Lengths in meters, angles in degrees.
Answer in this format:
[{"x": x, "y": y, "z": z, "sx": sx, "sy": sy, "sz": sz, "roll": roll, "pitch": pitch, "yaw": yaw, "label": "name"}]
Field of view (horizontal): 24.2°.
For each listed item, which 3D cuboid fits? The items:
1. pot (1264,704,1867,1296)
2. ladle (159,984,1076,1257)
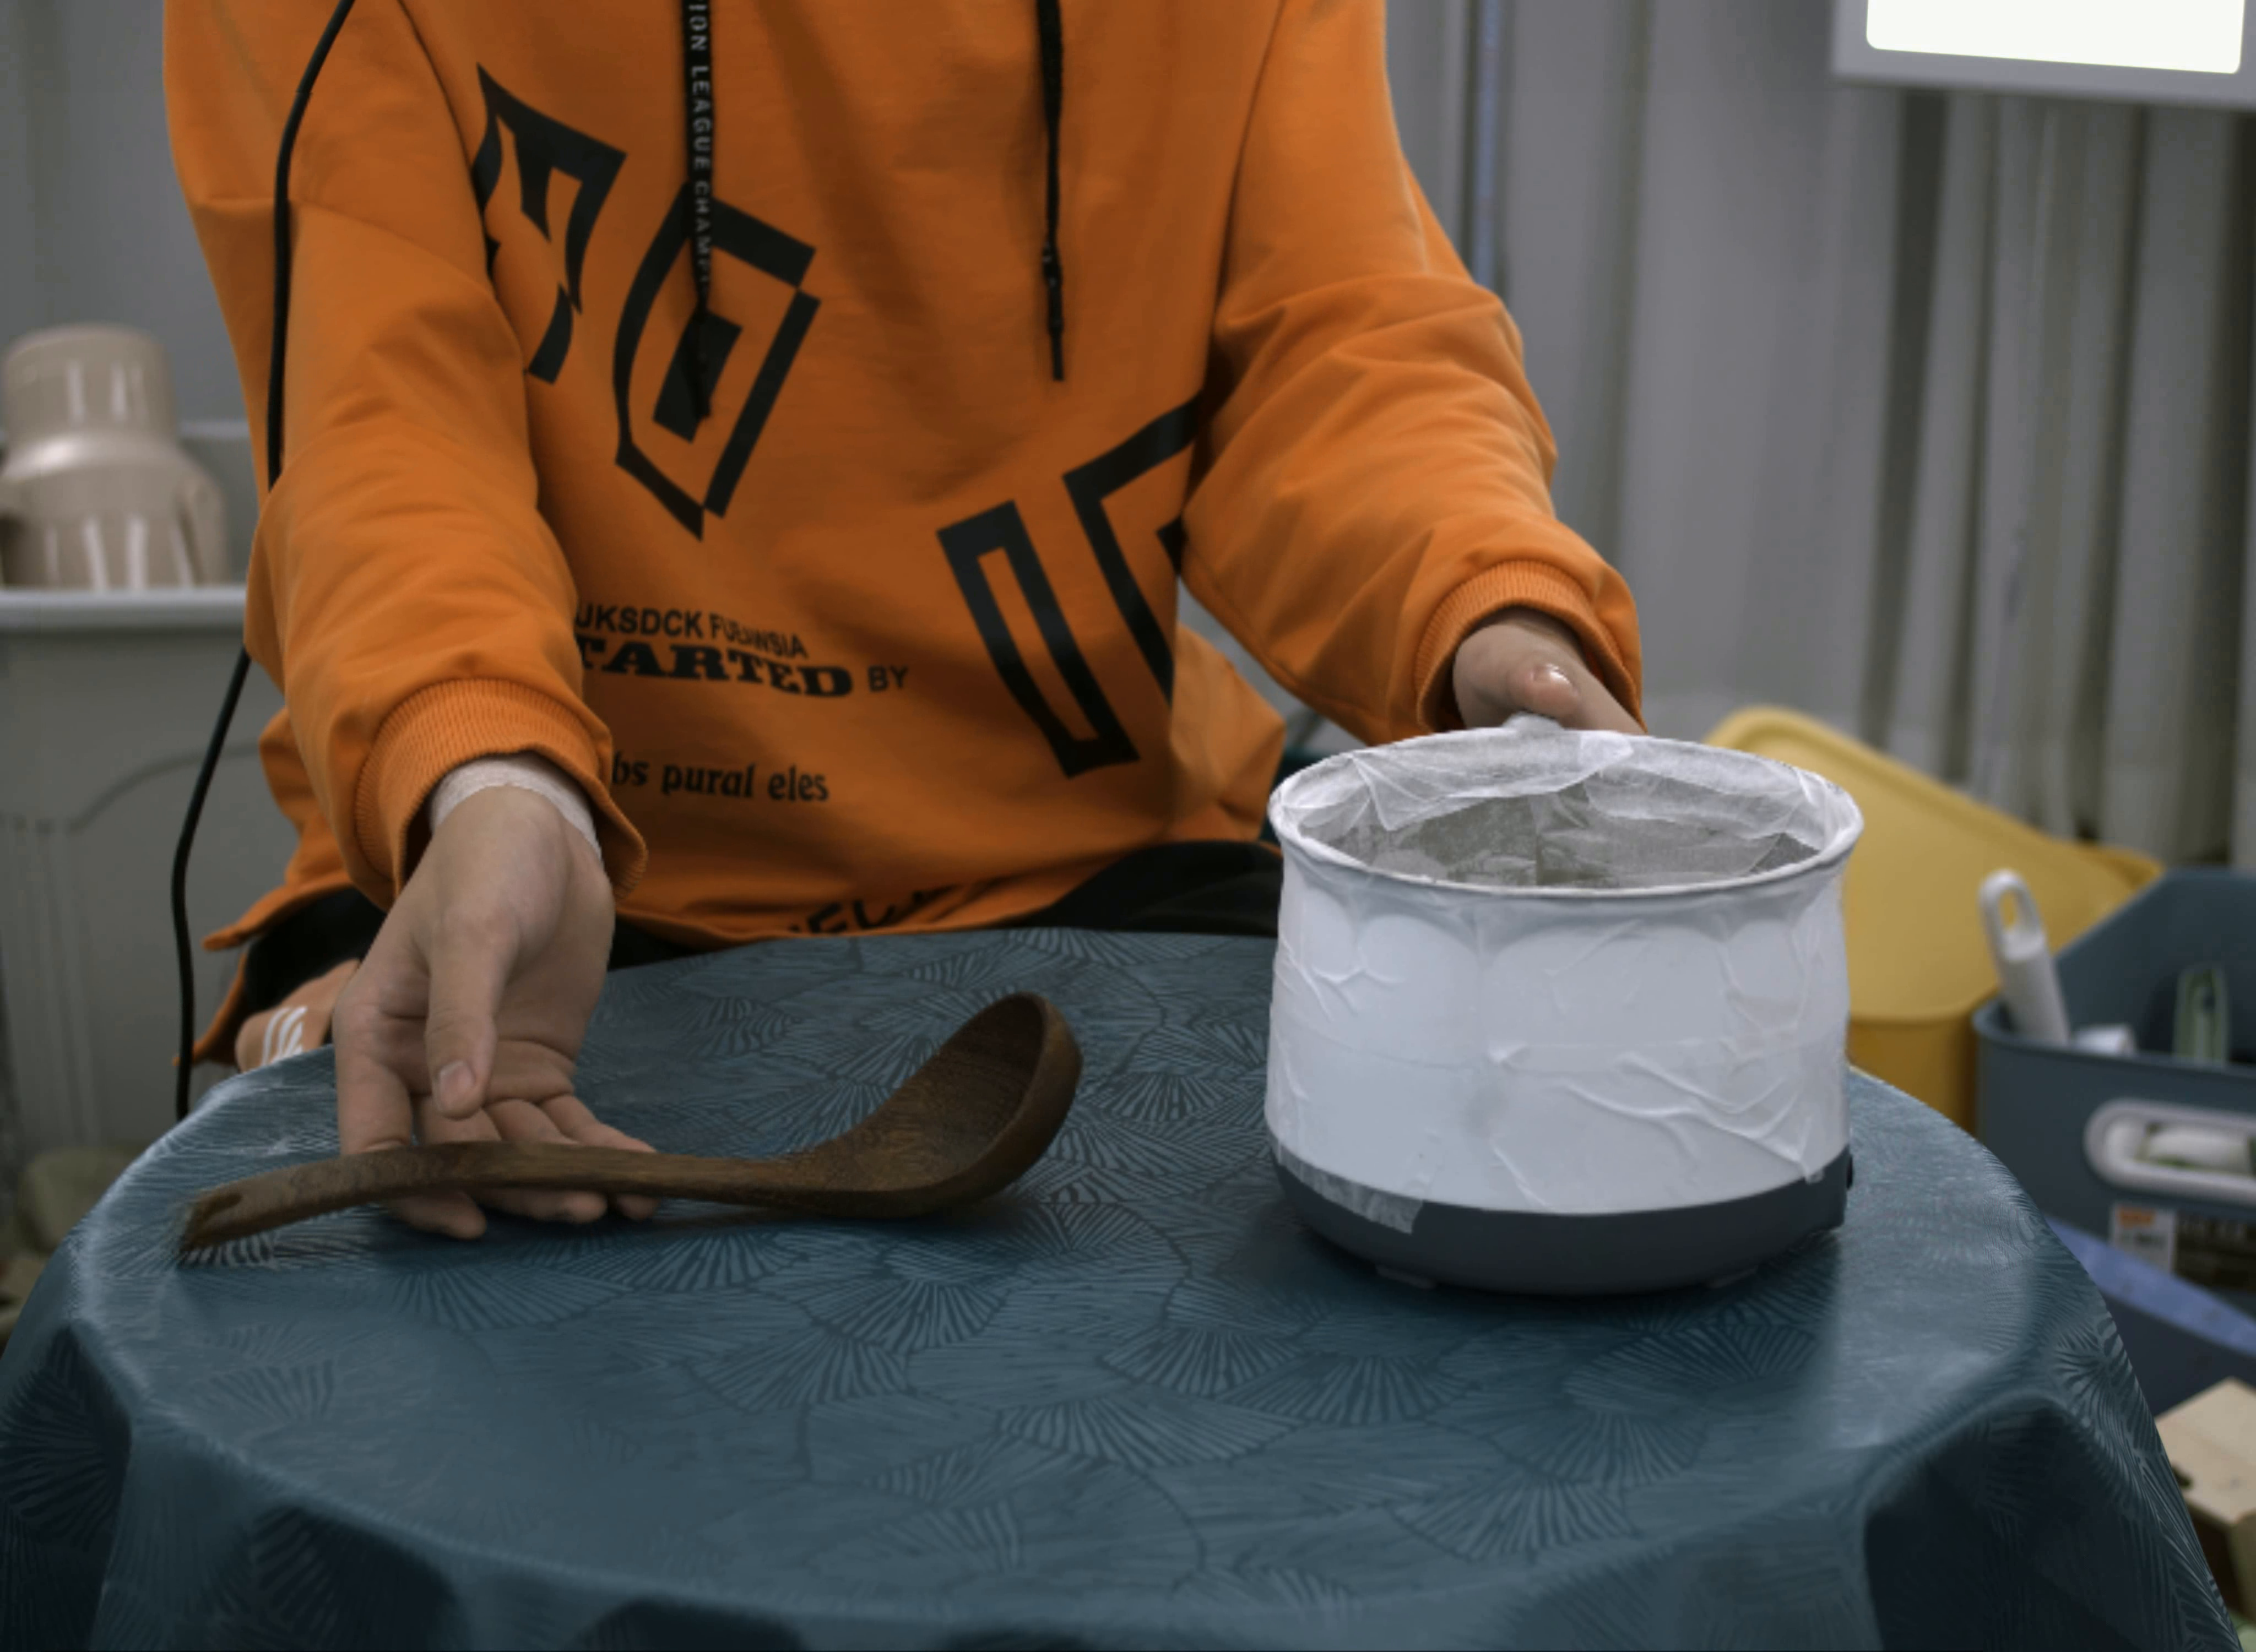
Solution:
[{"x": 0.127, "y": 0.047, "z": 1.602, "sx": 0.178, "sy": 0.138, "sz": 0.232, "roll": 0, "pitch": 16, "yaw": -3, "label": "pot"}, {"x": -0.151, "y": 0.087, "z": 1.573, "sx": 0.274, "sy": 0.072, "sz": 0.075, "roll": -2, "pitch": 22, "yaw": -13, "label": "ladle"}]
